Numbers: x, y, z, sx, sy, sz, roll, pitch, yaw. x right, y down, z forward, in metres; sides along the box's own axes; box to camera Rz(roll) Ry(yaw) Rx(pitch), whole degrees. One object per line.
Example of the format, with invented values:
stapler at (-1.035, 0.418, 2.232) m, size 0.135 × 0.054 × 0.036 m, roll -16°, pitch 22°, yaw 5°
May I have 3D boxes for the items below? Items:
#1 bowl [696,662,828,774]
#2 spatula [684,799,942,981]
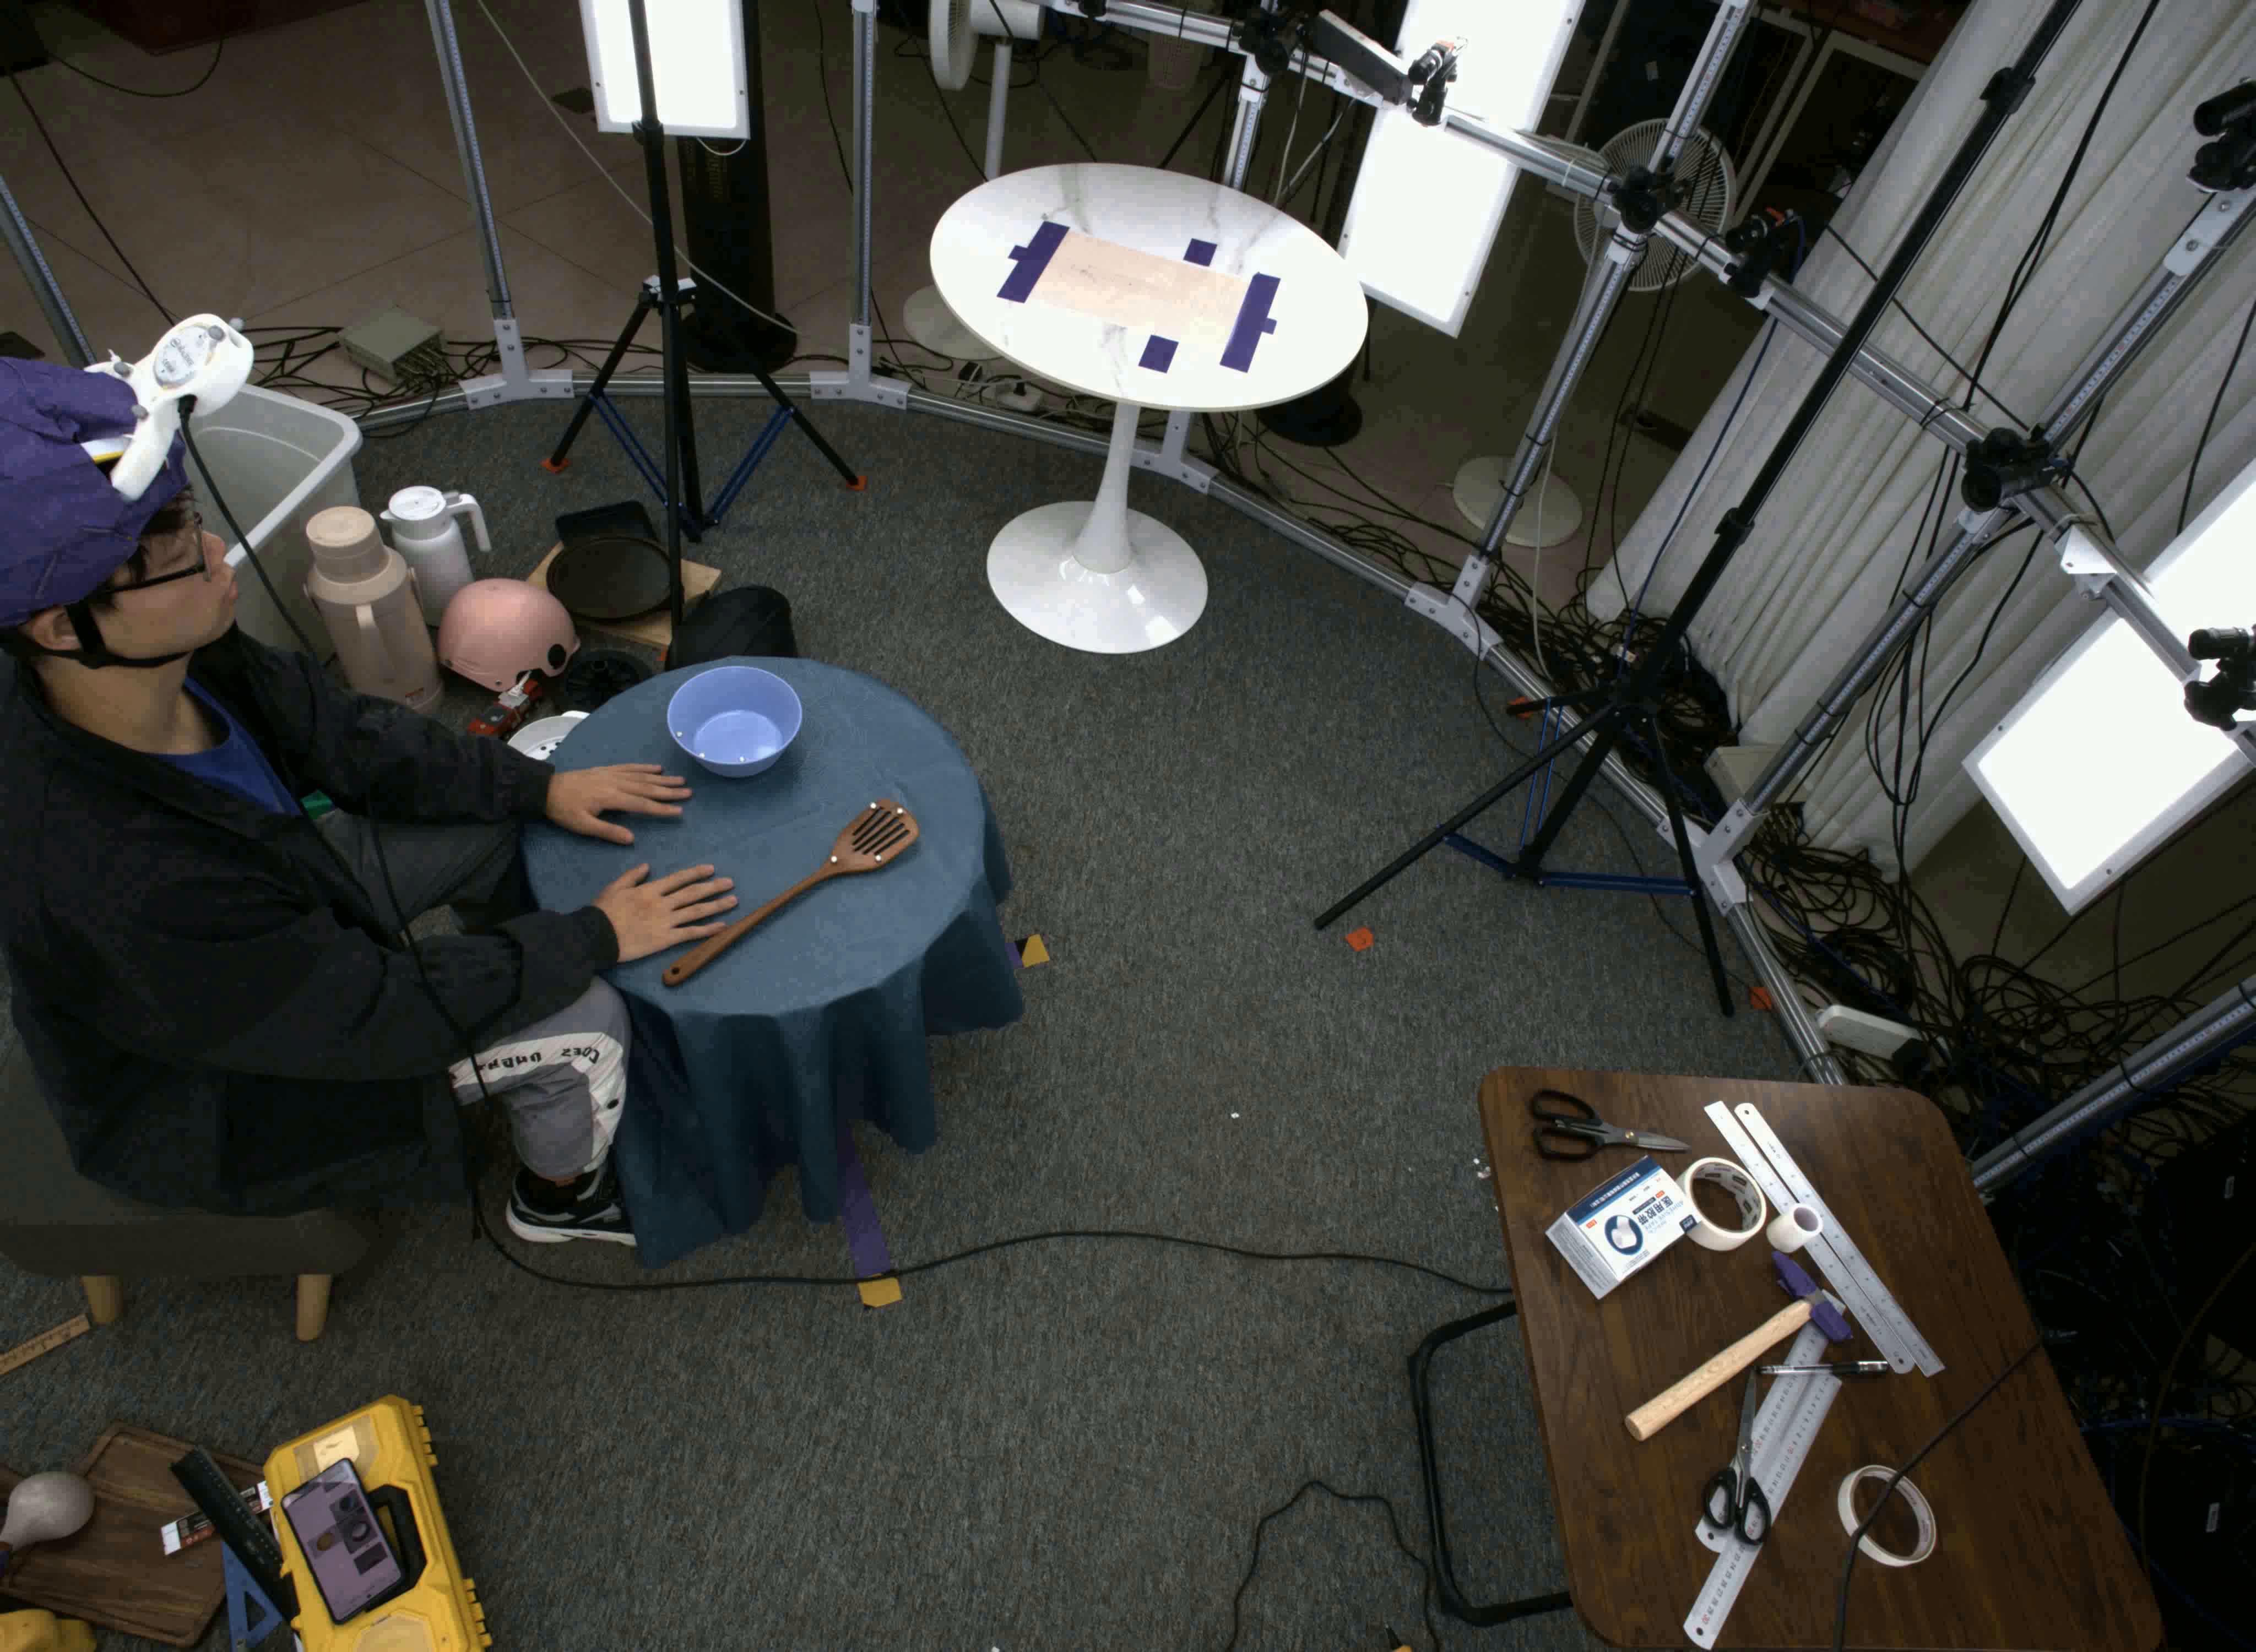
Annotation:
bowl at (-0.499, -0.138, 1.772) m, size 0.175 × 0.072 × 0.173 m, roll 7°, pitch 53°, yaw -7°
spatula at (-0.403, 0.084, 1.664) m, size 0.083 × 0.024 × 0.387 m, roll 42°, pitch 57°, yaw 19°
